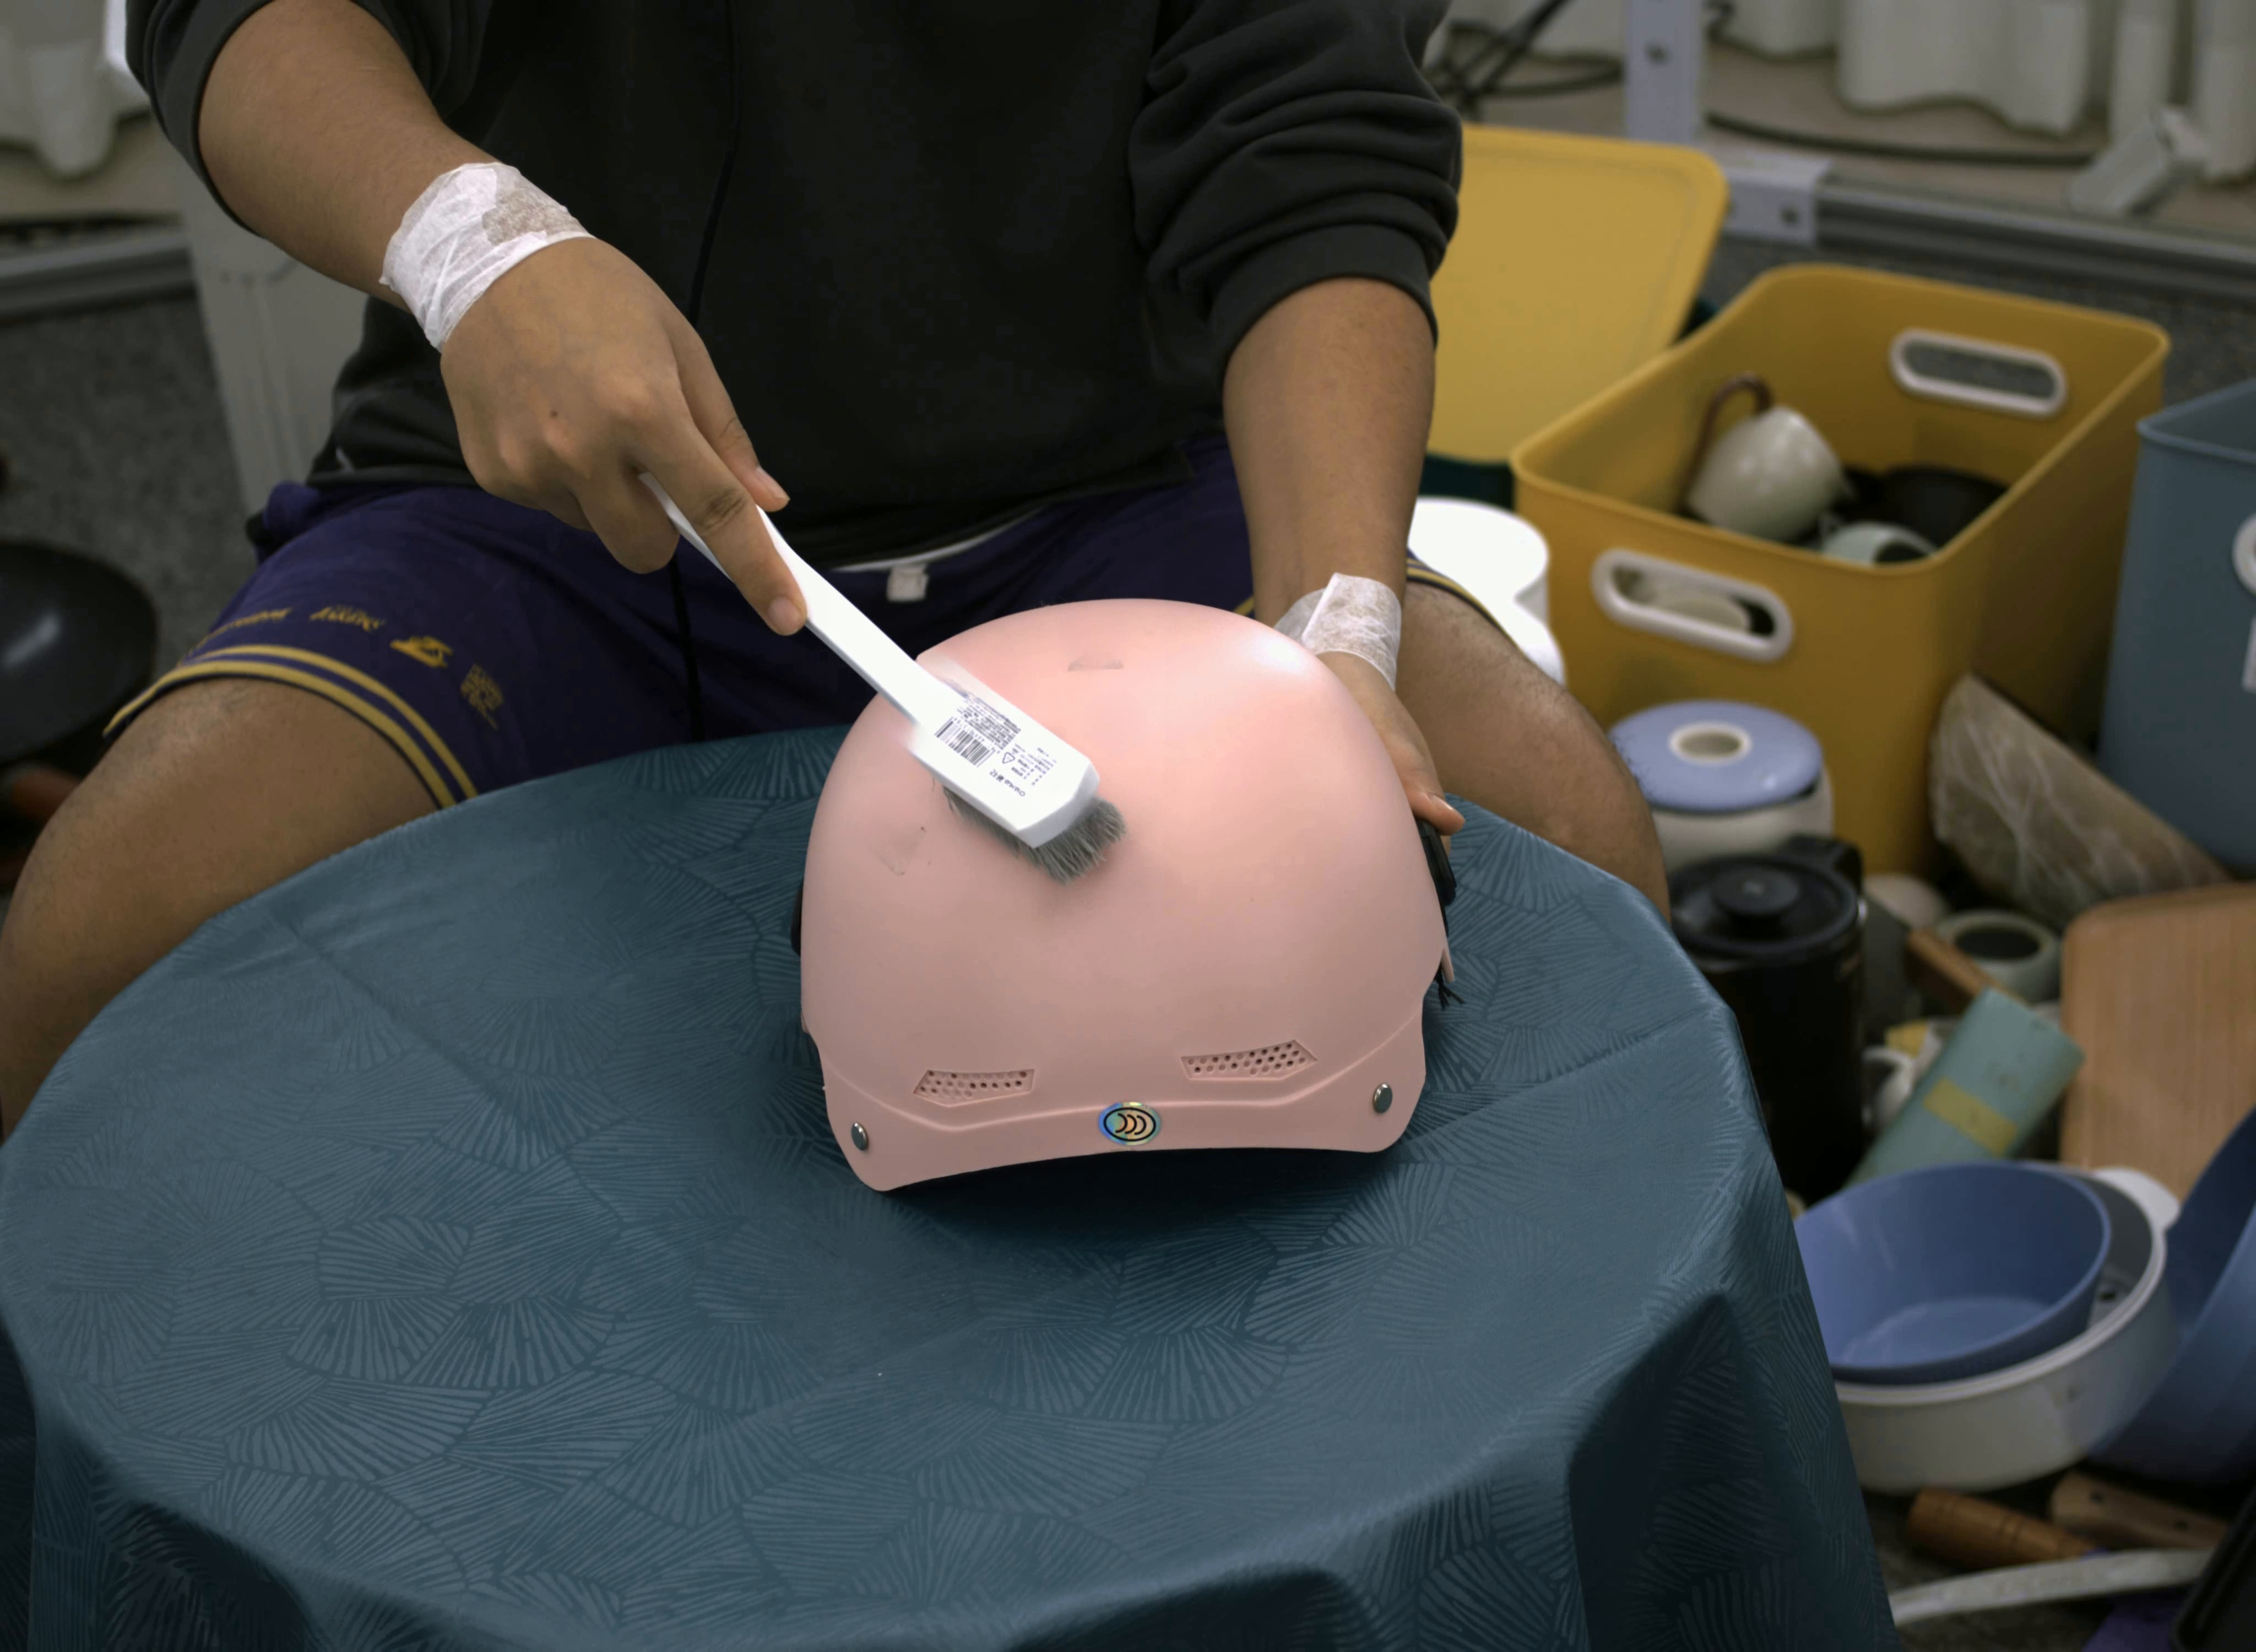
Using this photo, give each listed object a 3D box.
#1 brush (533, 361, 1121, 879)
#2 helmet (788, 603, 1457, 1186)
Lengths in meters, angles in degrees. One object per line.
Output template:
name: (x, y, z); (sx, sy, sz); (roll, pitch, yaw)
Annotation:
brush: (-0.099, -0.067, 1.821); (0.244, 0.049, 0.035); (39, 74, 19)
helmet: (-0.007, 0.003, 1.916); (0.233, 0.157, 0.270); (-6, 24, 3)
